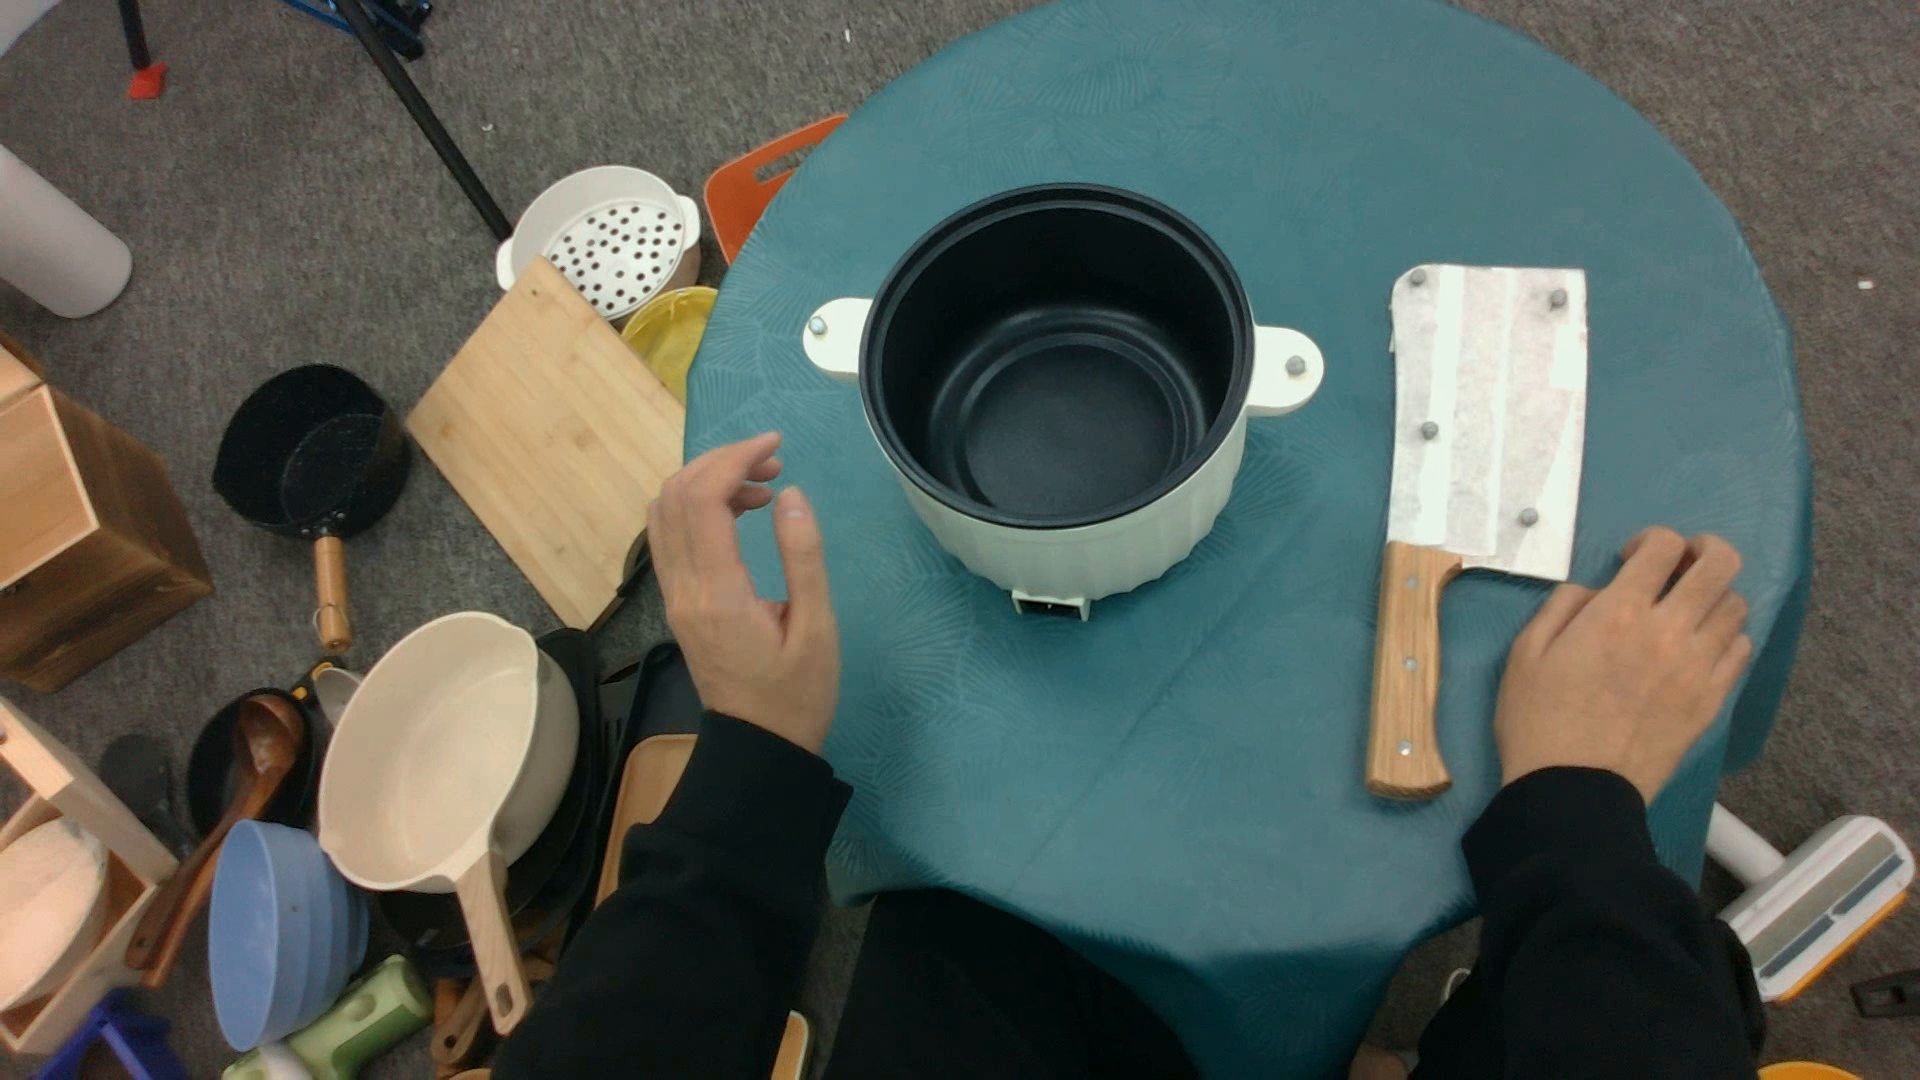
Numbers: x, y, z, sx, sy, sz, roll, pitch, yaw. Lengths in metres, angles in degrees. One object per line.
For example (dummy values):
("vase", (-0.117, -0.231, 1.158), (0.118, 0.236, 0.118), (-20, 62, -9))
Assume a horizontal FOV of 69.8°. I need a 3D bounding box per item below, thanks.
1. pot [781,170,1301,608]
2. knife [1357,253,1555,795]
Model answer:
("pot", (0.042, -0.074, 0.687), (0.240, 0.142, 0.191), (6, 72, 10))
("knife", (0.242, -0.023, 0.701), (0.114, 0.021, 0.316), (11, 67, 13))
